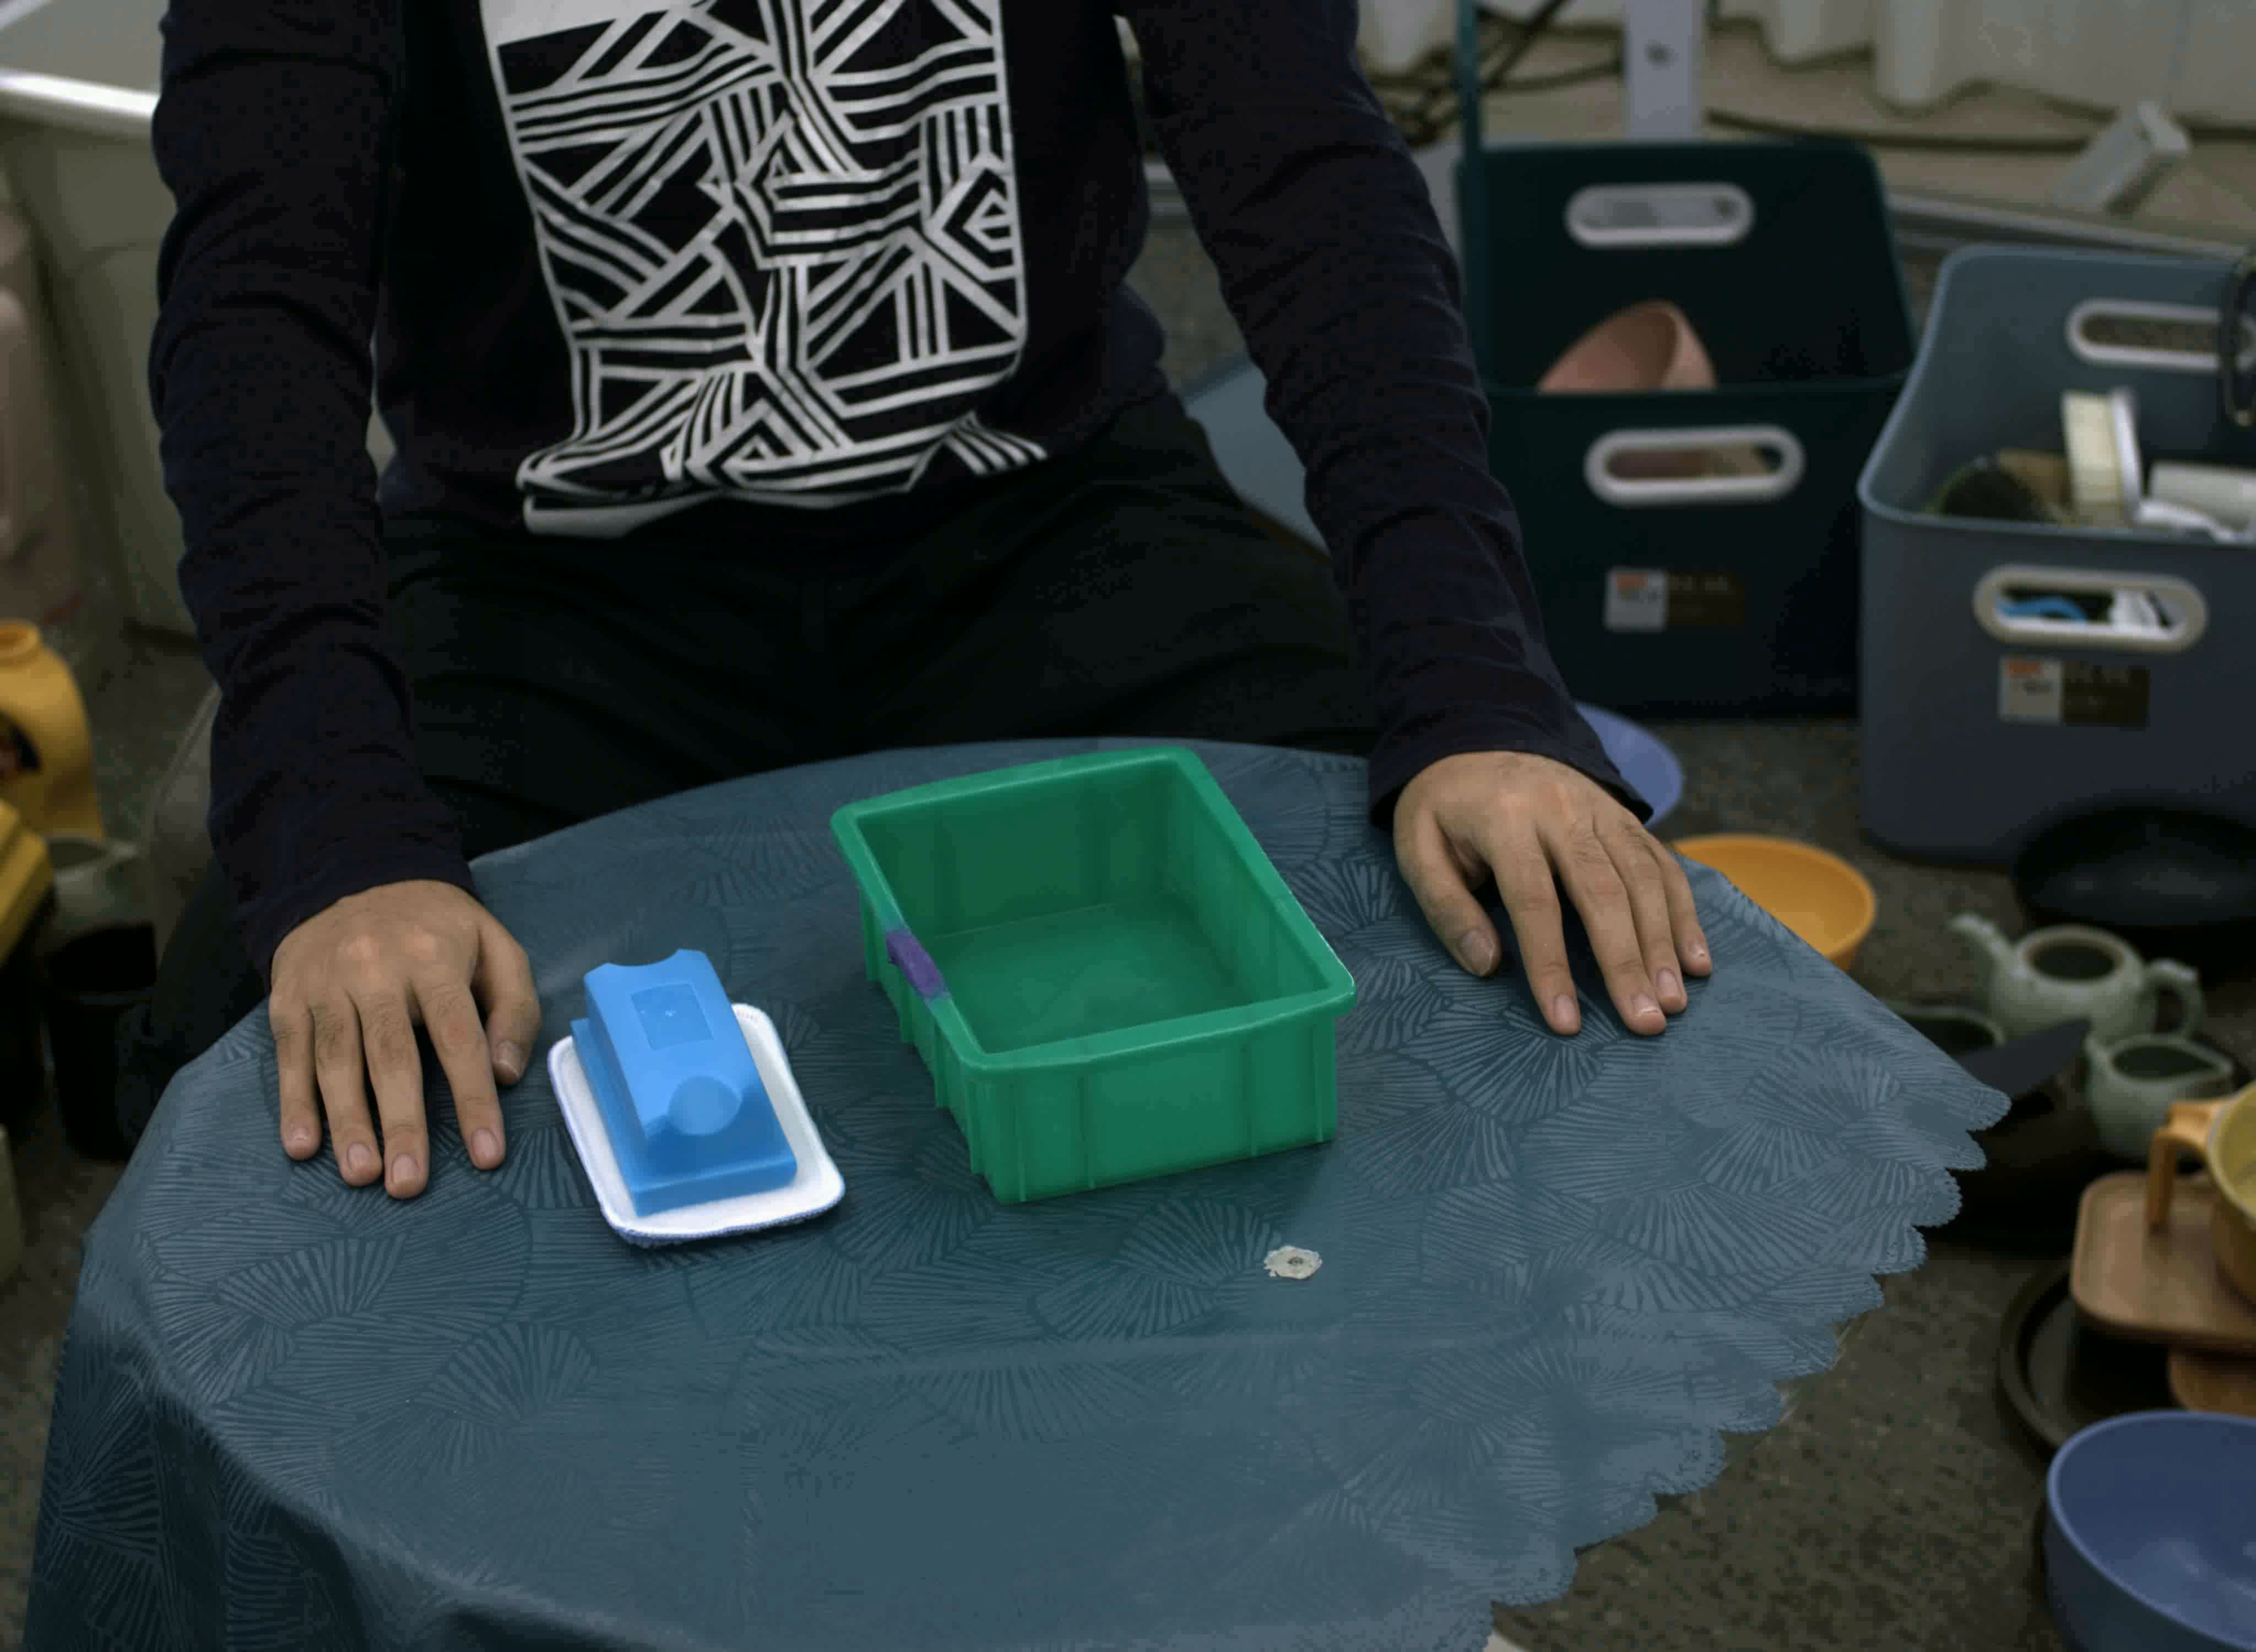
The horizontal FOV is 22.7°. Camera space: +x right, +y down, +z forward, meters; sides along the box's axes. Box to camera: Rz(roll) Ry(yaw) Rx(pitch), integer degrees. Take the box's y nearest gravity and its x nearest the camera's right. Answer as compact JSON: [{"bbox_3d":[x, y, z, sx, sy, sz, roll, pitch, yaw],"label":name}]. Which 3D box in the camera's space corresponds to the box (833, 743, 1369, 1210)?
[{"bbox_3d":[-0.010,0.051,1.929,0.139,0.064,0.212,-13,29,-14],"label":"box"}]

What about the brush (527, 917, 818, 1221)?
[{"bbox_3d":[-0.153,0.077,1.889,0.084,0.055,0.146,-7,32,-12],"label":"brush"}]
